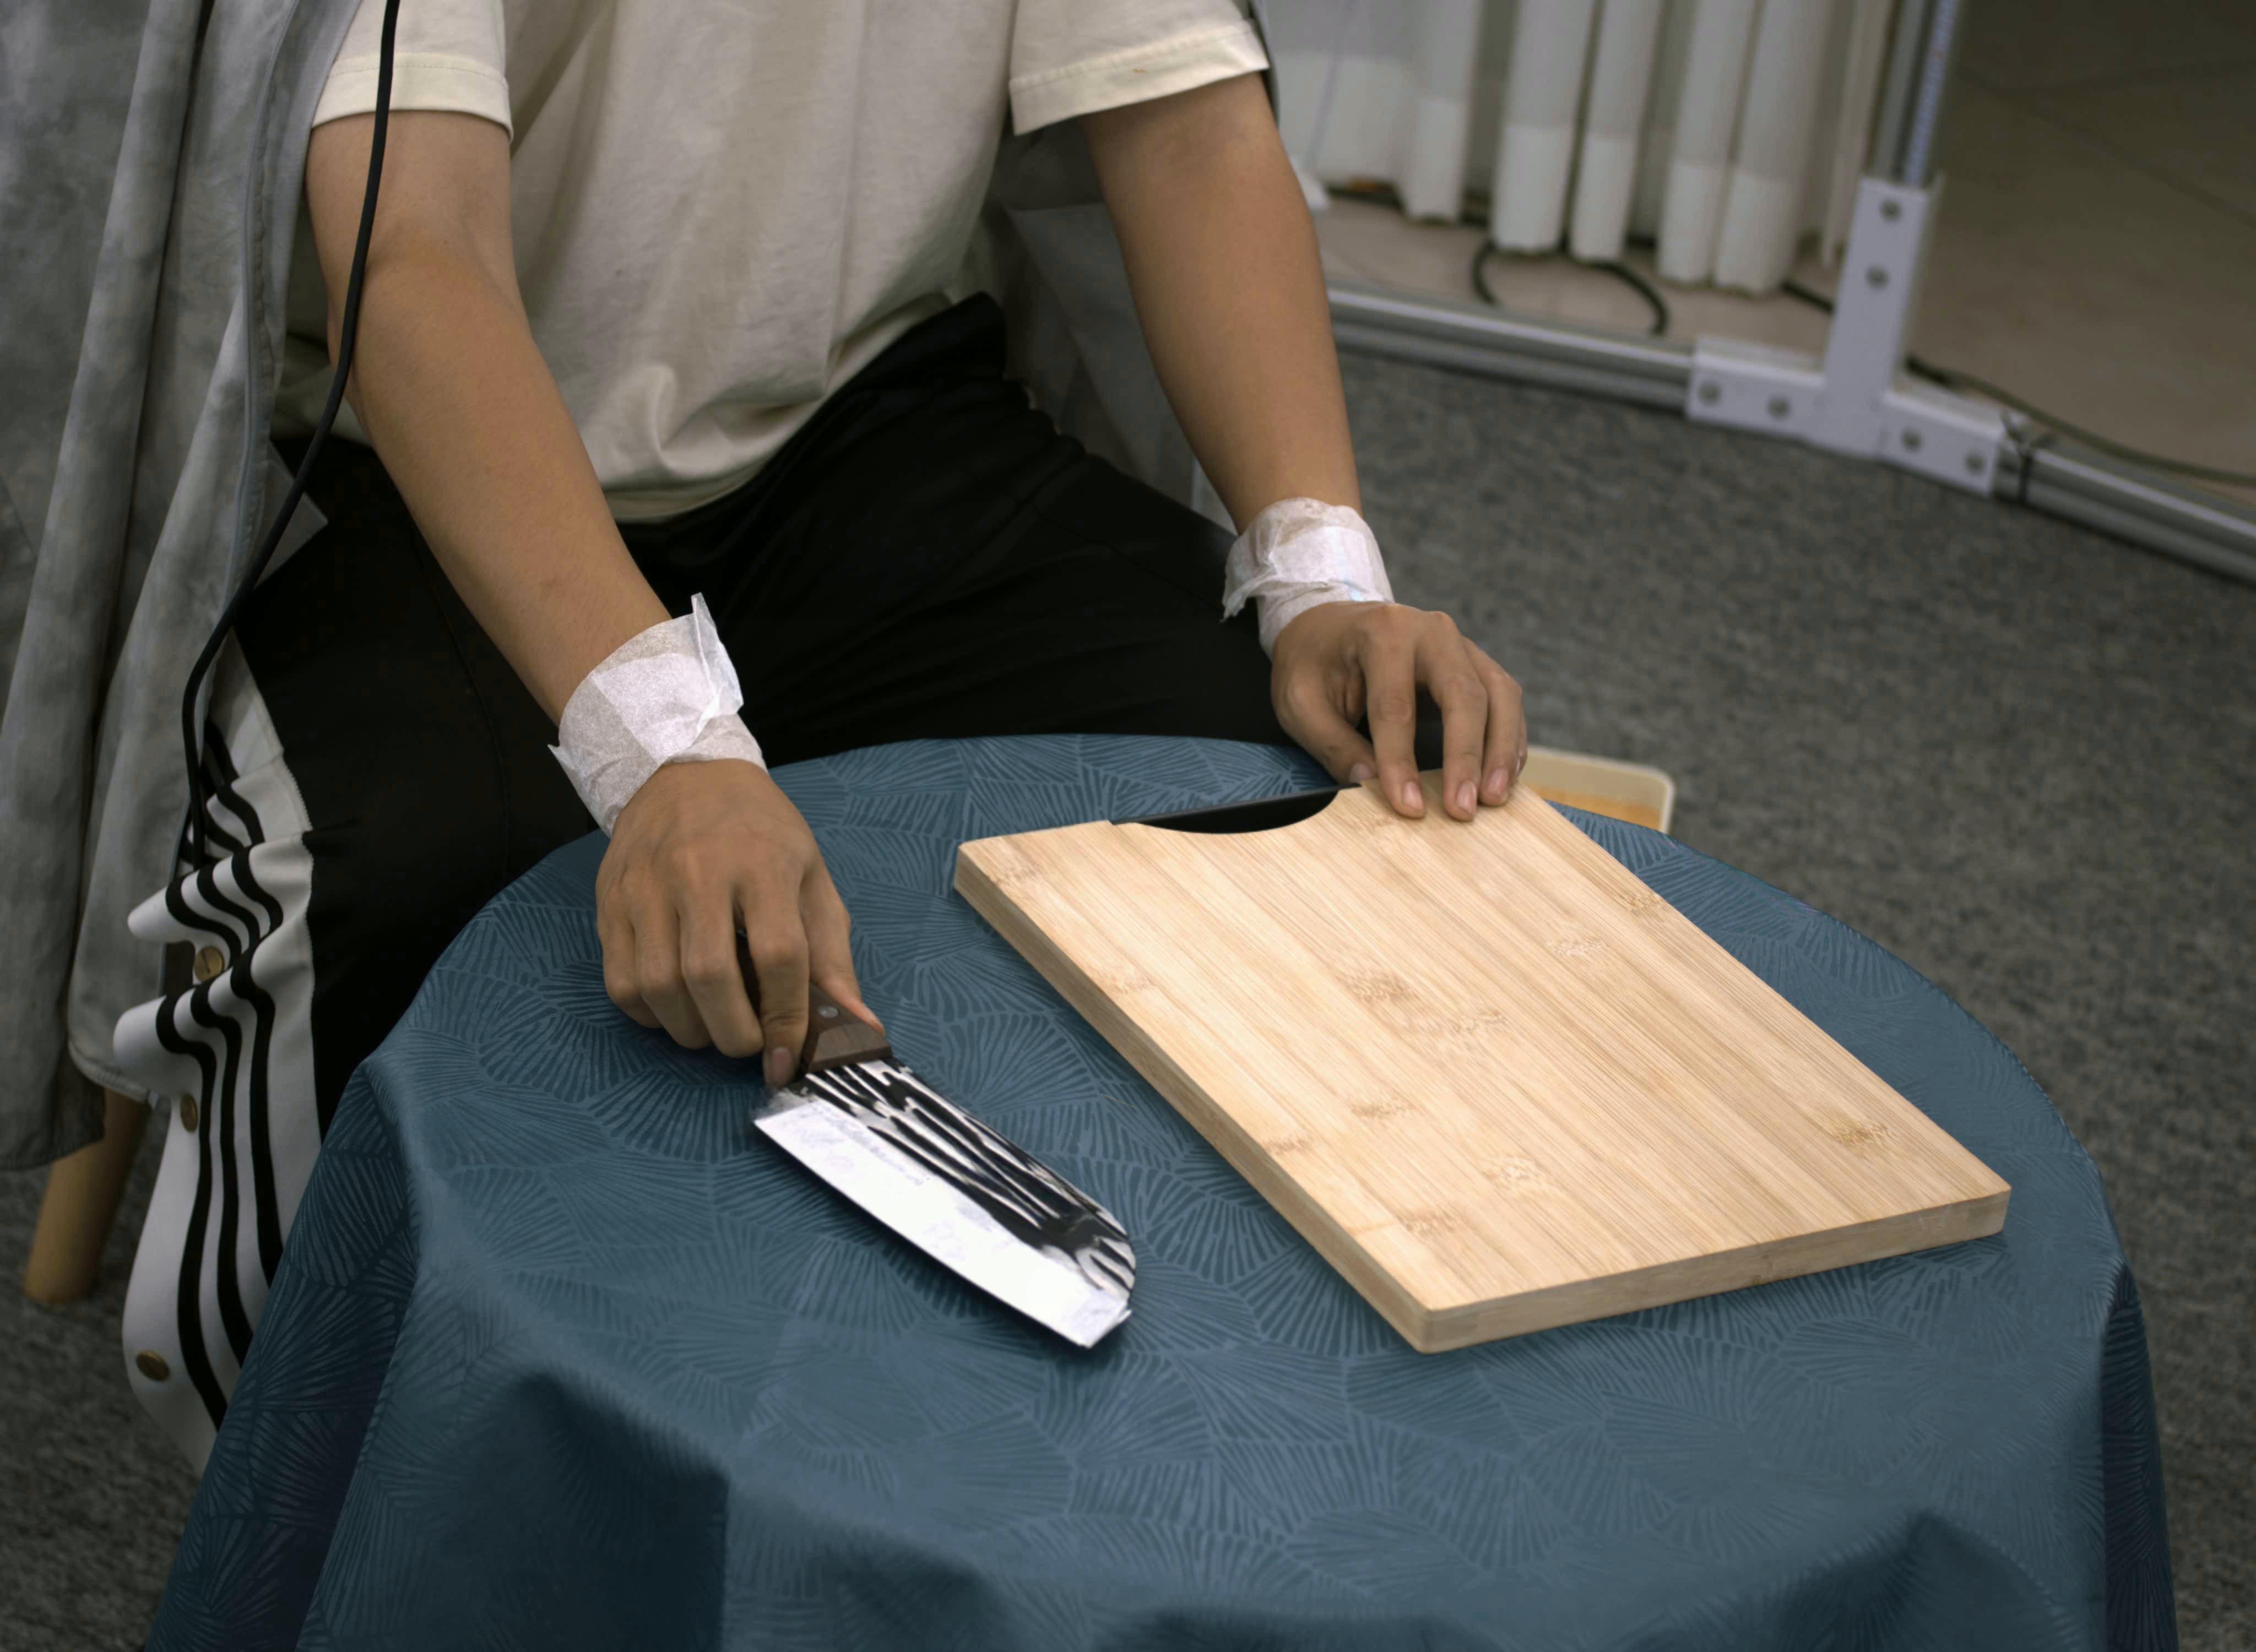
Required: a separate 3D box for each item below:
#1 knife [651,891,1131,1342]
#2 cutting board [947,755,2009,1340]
[{"bbox_3d":[-0.091,0.098,1.810,0.068,0.024,0.302,-16,35,-35],"label":"knife"},{"bbox_3d":[0.118,0.072,1.915,0.249,0.023,0.352,-9,31,-29],"label":"cutting board"}]
